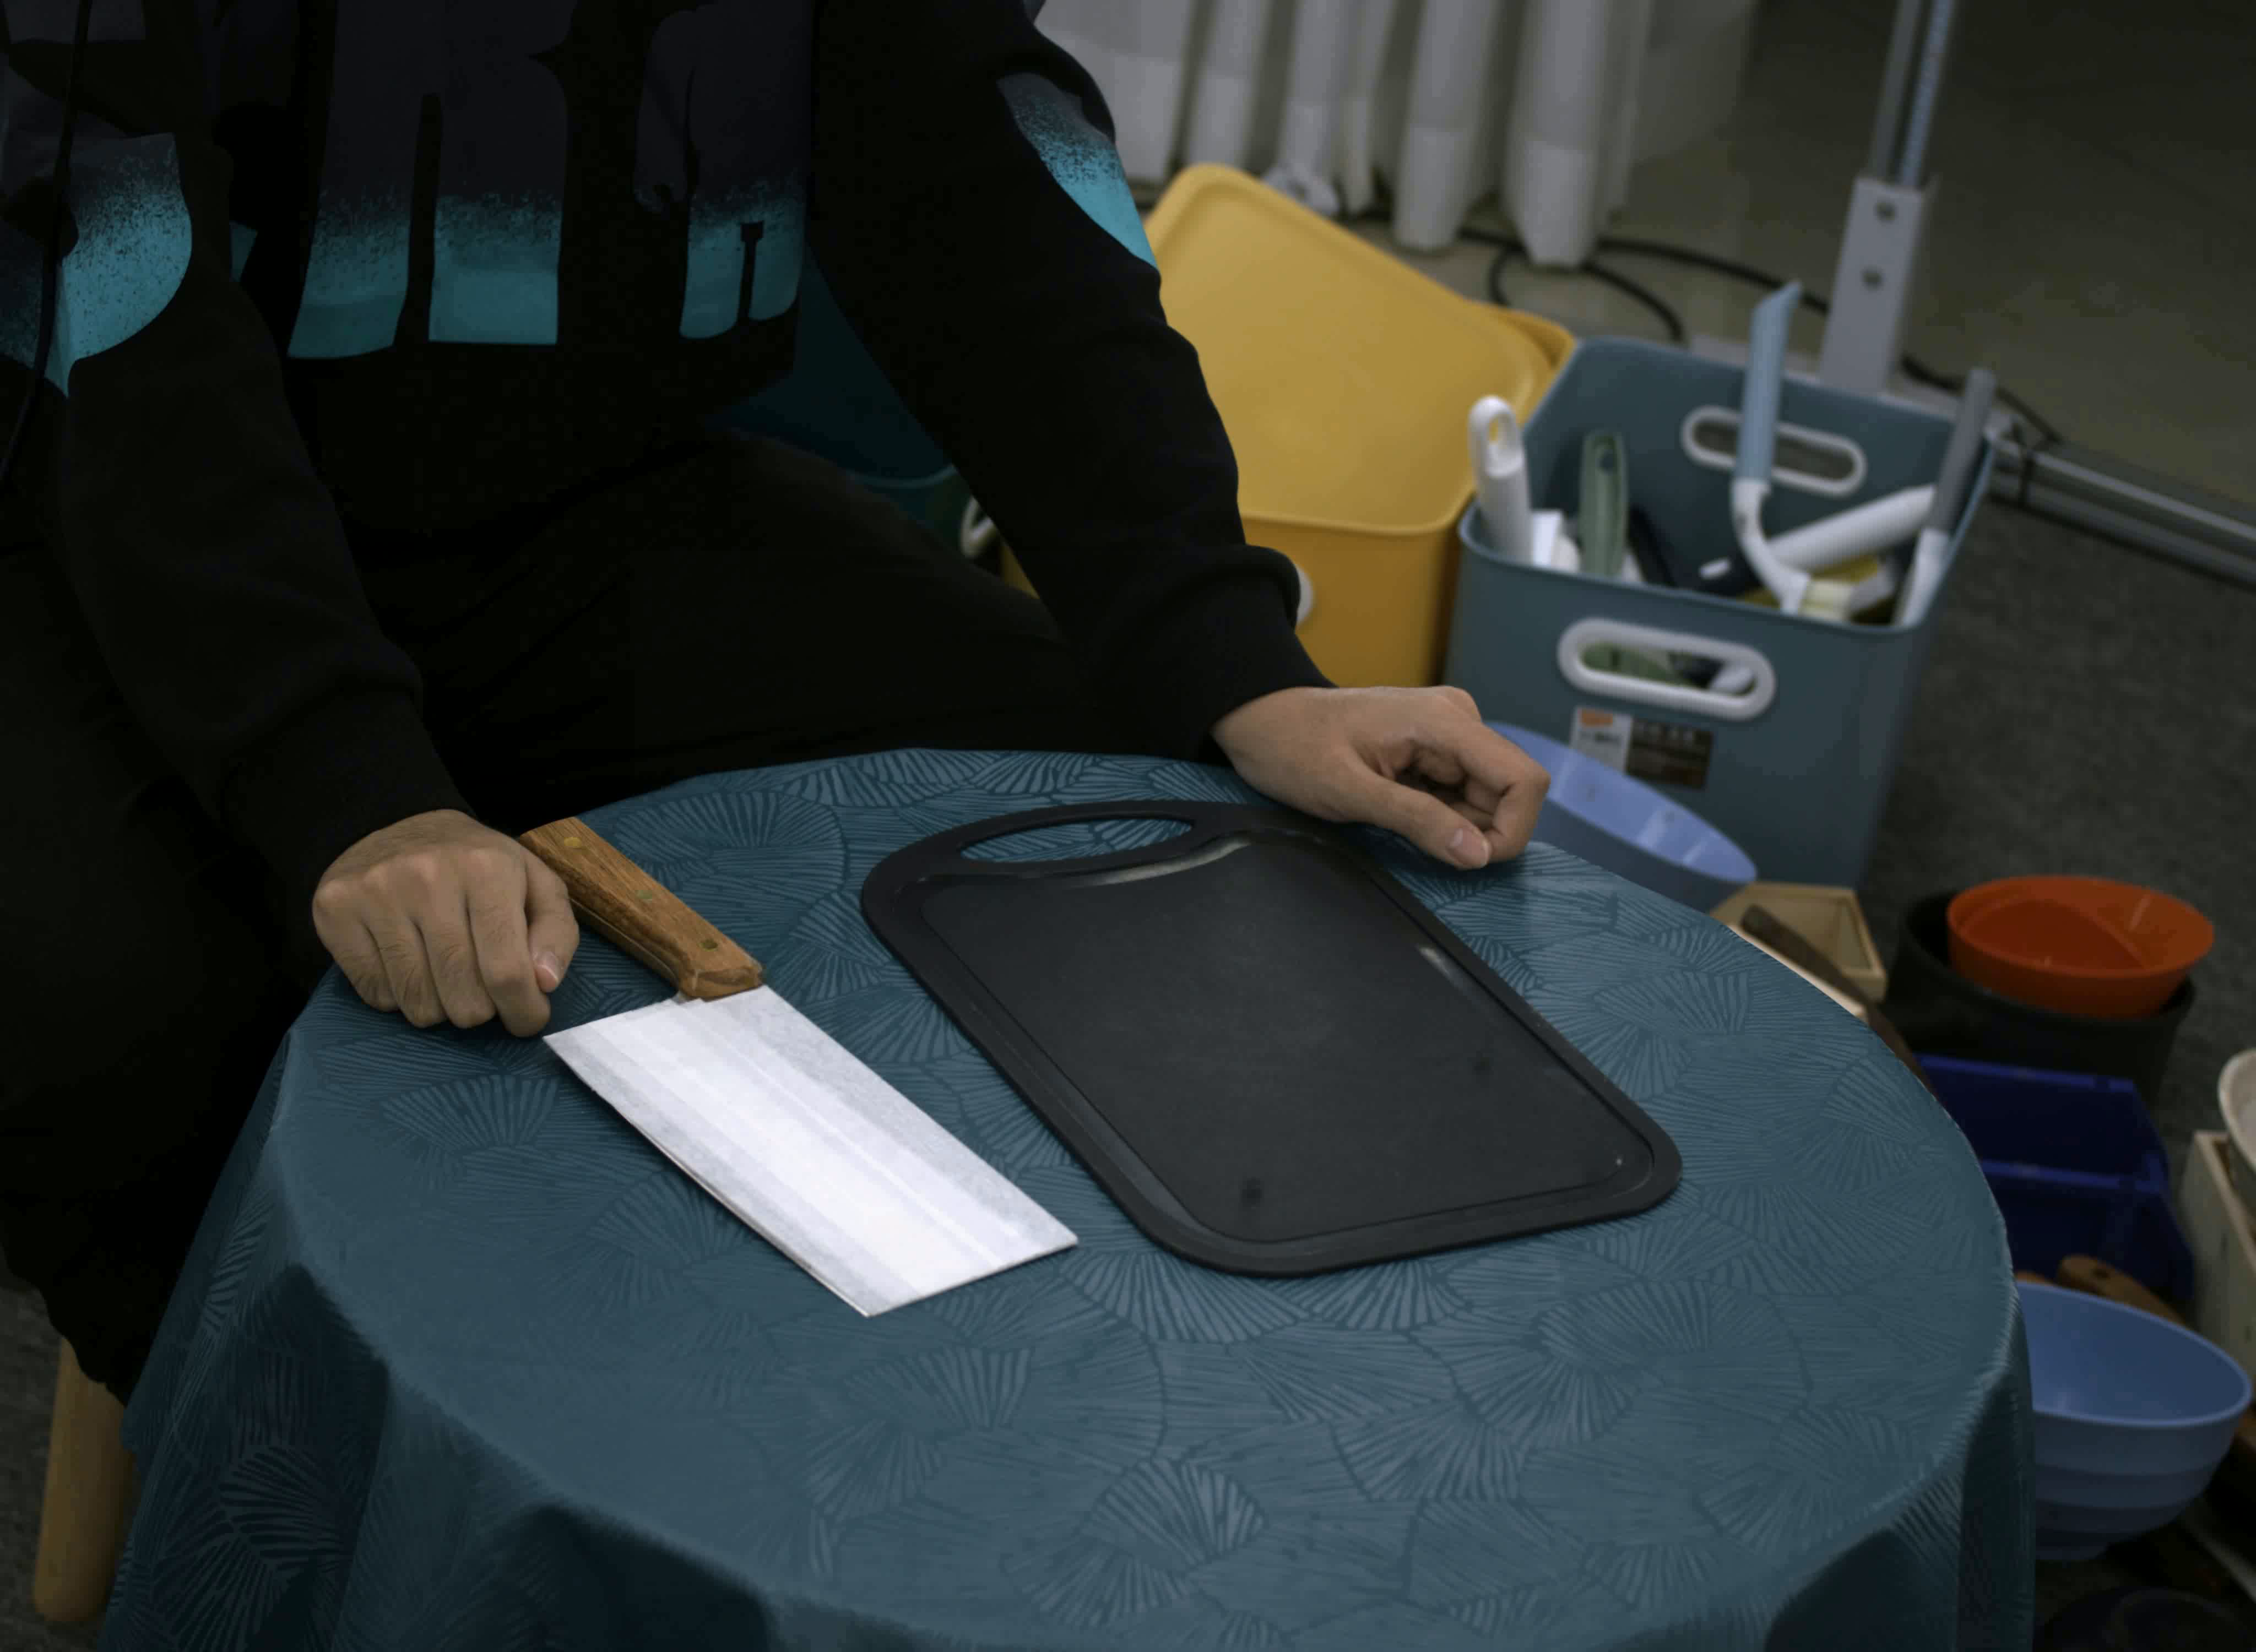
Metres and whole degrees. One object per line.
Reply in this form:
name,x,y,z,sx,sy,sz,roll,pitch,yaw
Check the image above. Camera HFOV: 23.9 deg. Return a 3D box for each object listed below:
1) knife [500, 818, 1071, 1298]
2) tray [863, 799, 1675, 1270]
knife,-0.143,0.080,1.840,0.092,0.021,0.308,-17,37,-36
tray,0.042,0.066,1.917,0.210,0.010,0.328,-8,30,-26
